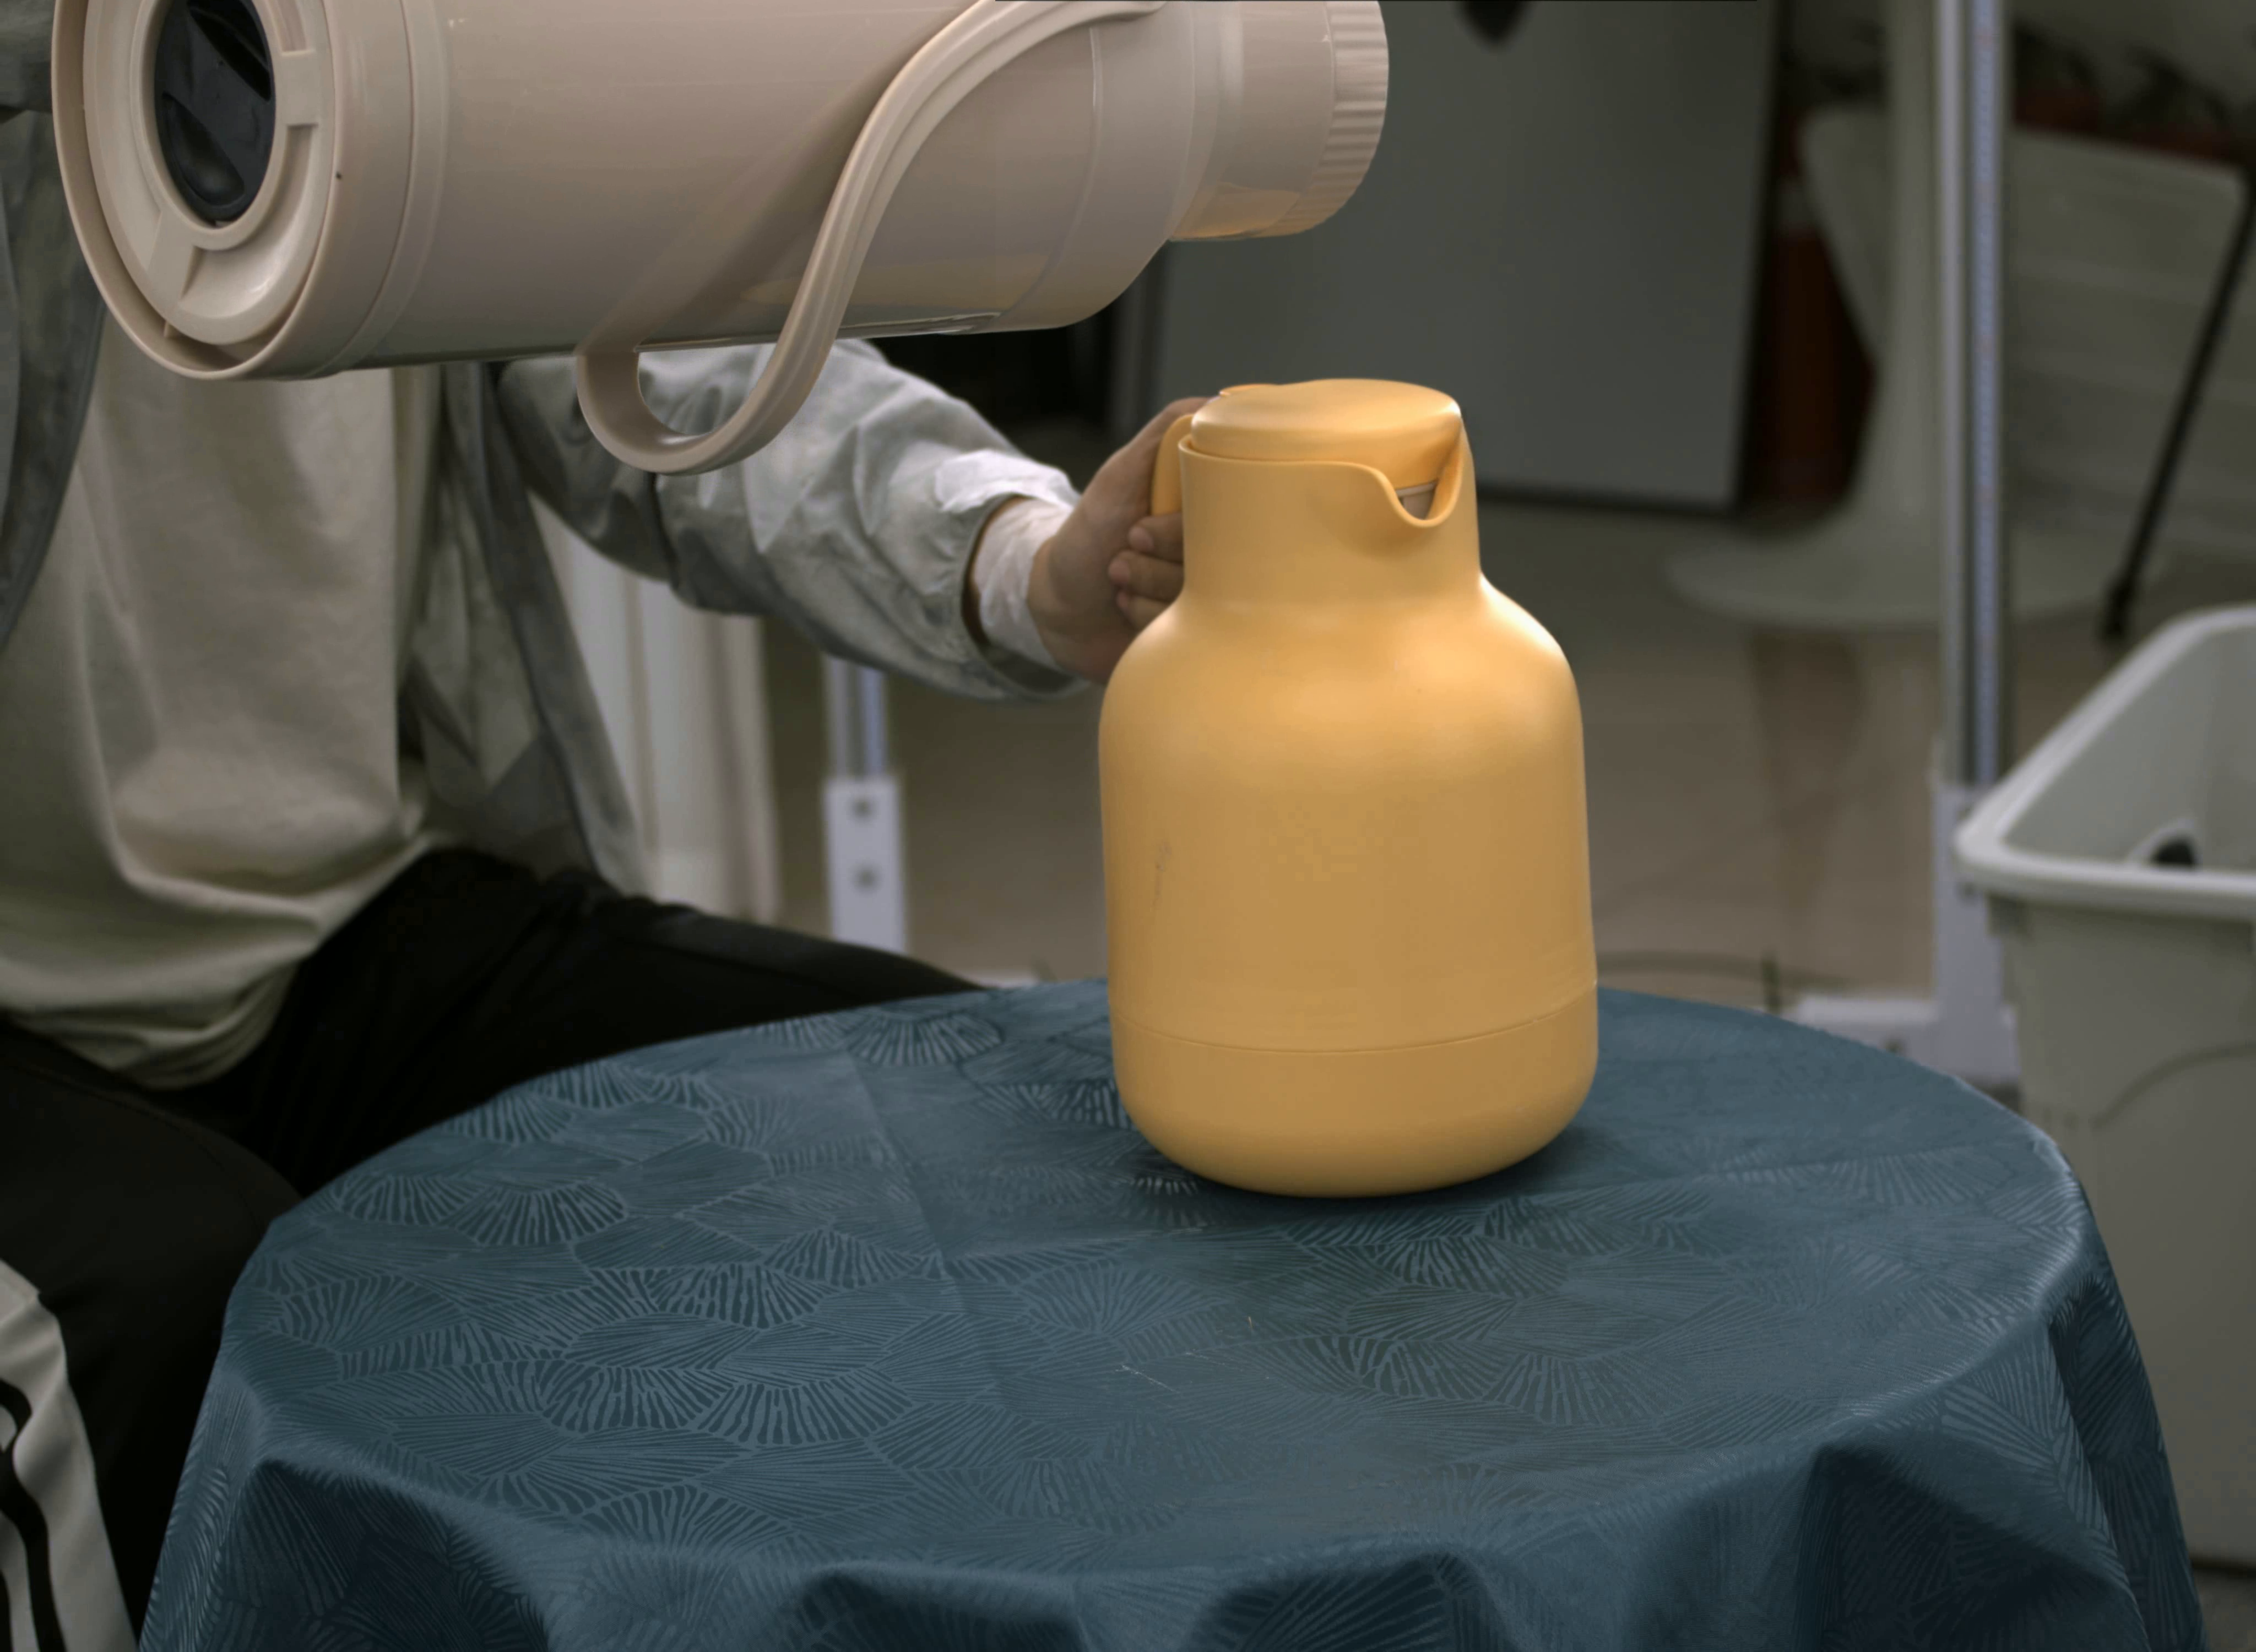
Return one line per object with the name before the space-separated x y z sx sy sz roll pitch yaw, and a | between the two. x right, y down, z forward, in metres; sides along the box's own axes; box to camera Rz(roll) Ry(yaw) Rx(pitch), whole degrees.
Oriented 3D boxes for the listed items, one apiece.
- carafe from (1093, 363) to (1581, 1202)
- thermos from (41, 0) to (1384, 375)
carafe | 0.062 -0.022 1.788 0.160 0.263 0.204 -6 14 -20
thermos | -0.111 -0.239 1.603 0.397 0.210 0.177 -7 -12 -36
